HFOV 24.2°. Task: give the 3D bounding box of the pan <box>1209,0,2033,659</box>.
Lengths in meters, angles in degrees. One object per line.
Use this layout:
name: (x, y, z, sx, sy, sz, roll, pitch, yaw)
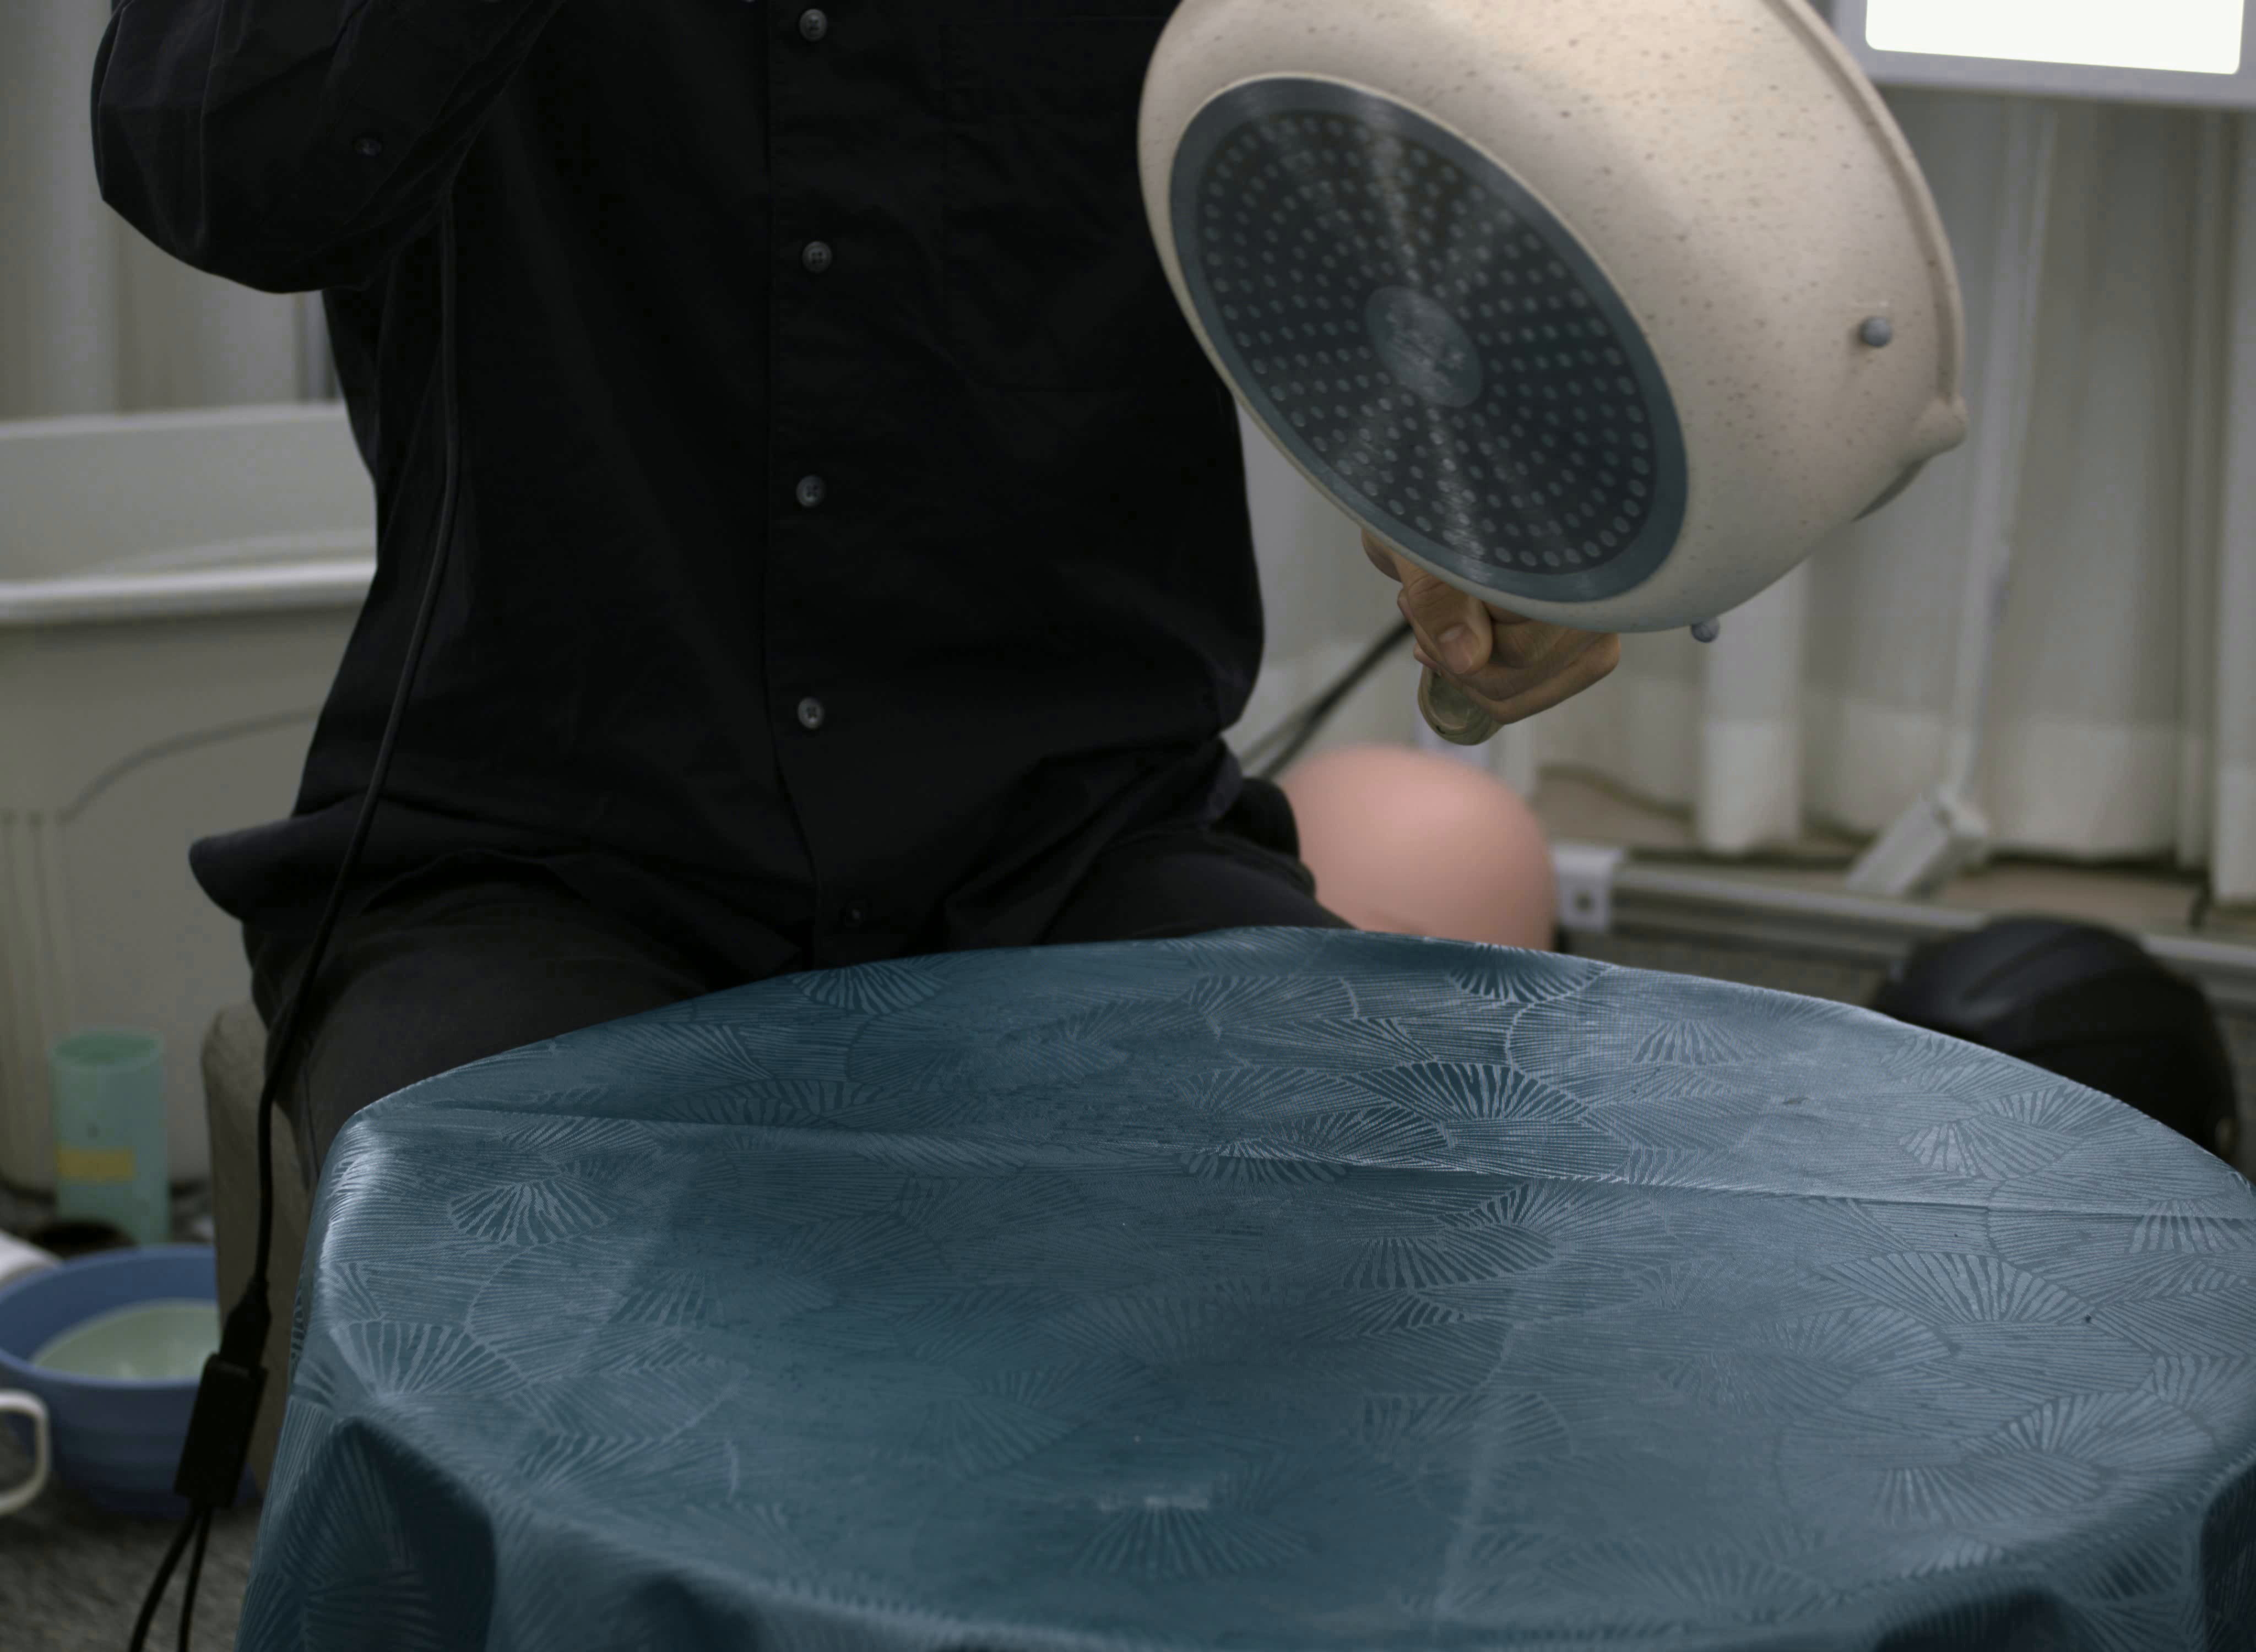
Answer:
pan: (0.124, -0.147, 1.586, 0.261, 0.438, 0.102, 35, 62, 13)
